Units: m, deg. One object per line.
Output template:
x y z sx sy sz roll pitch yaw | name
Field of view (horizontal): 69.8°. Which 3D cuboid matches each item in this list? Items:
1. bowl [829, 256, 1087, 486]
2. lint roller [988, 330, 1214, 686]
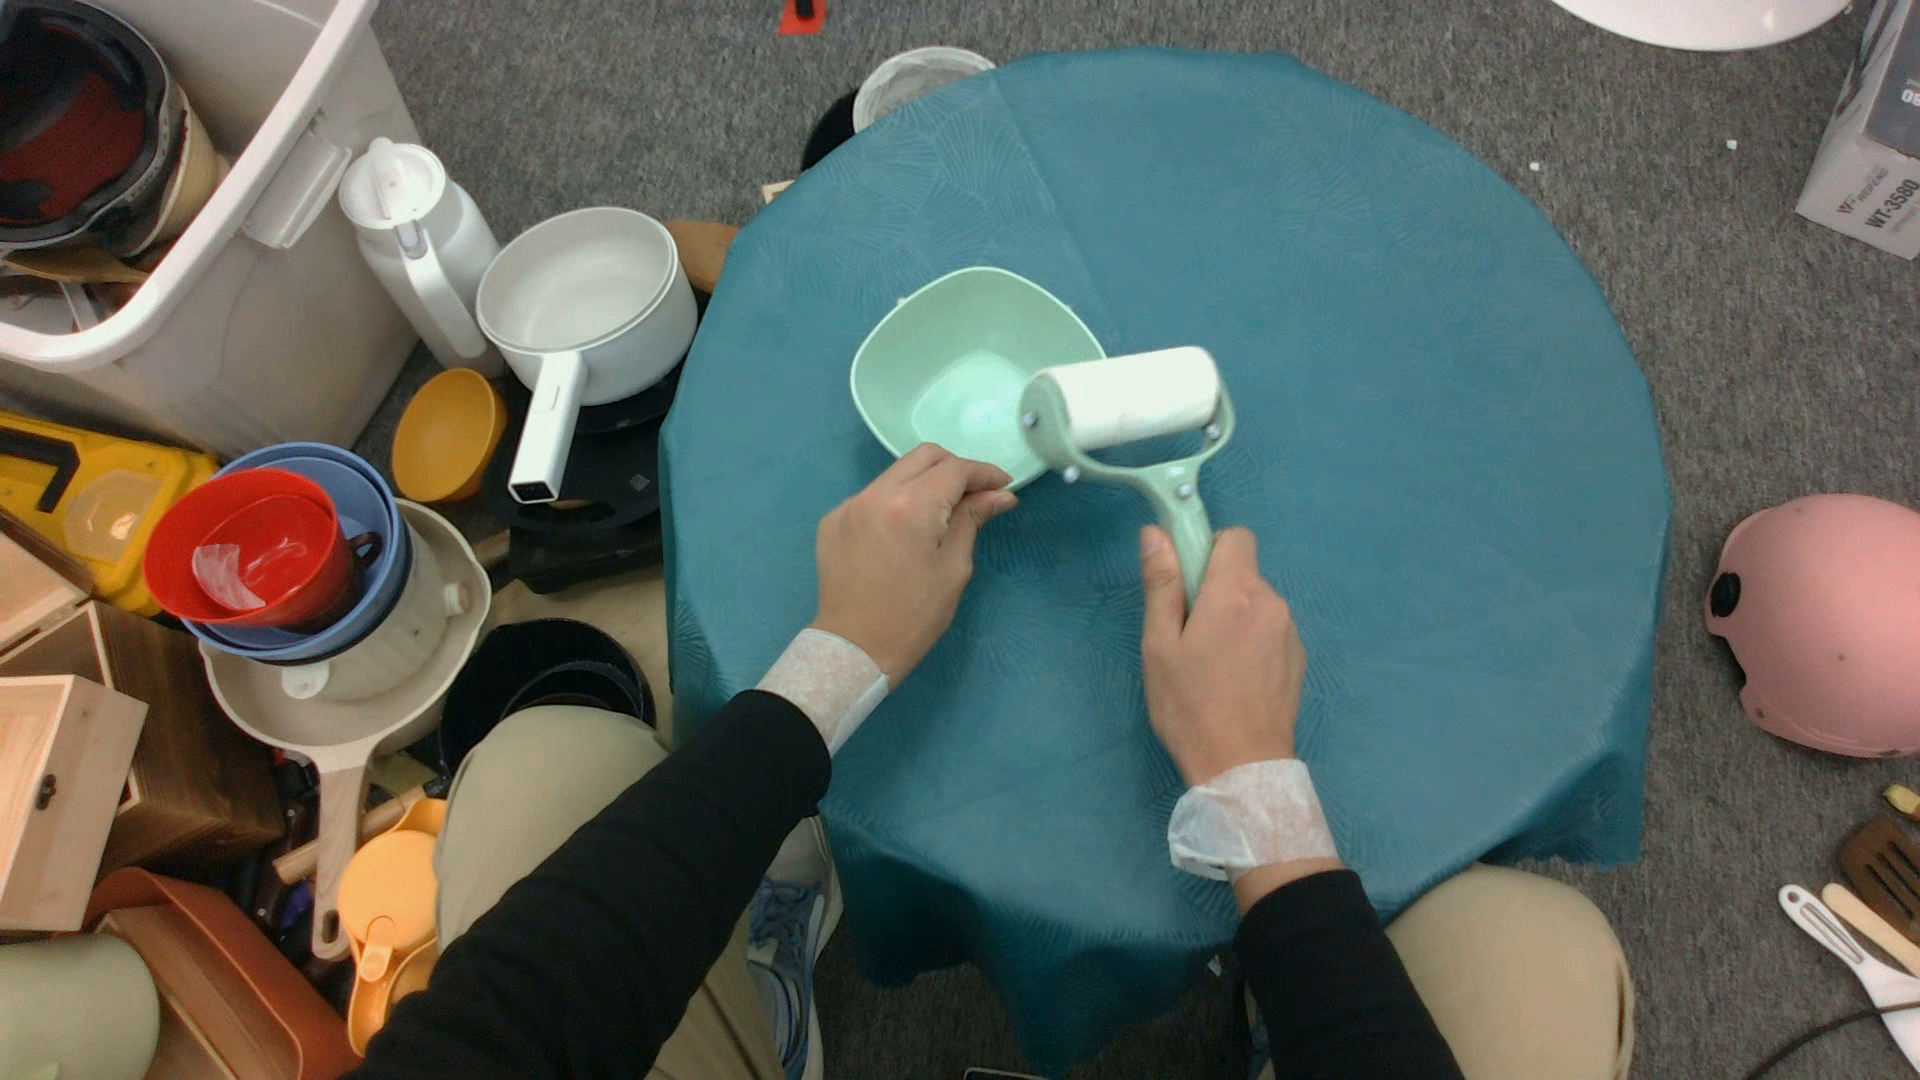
0.000 -0.091 0.817 0.151 0.058 0.152 0 65 1 | bowl
0.097 -0.017 0.741 0.117 0.048 0.198 -13 75 -31 | lint roller
